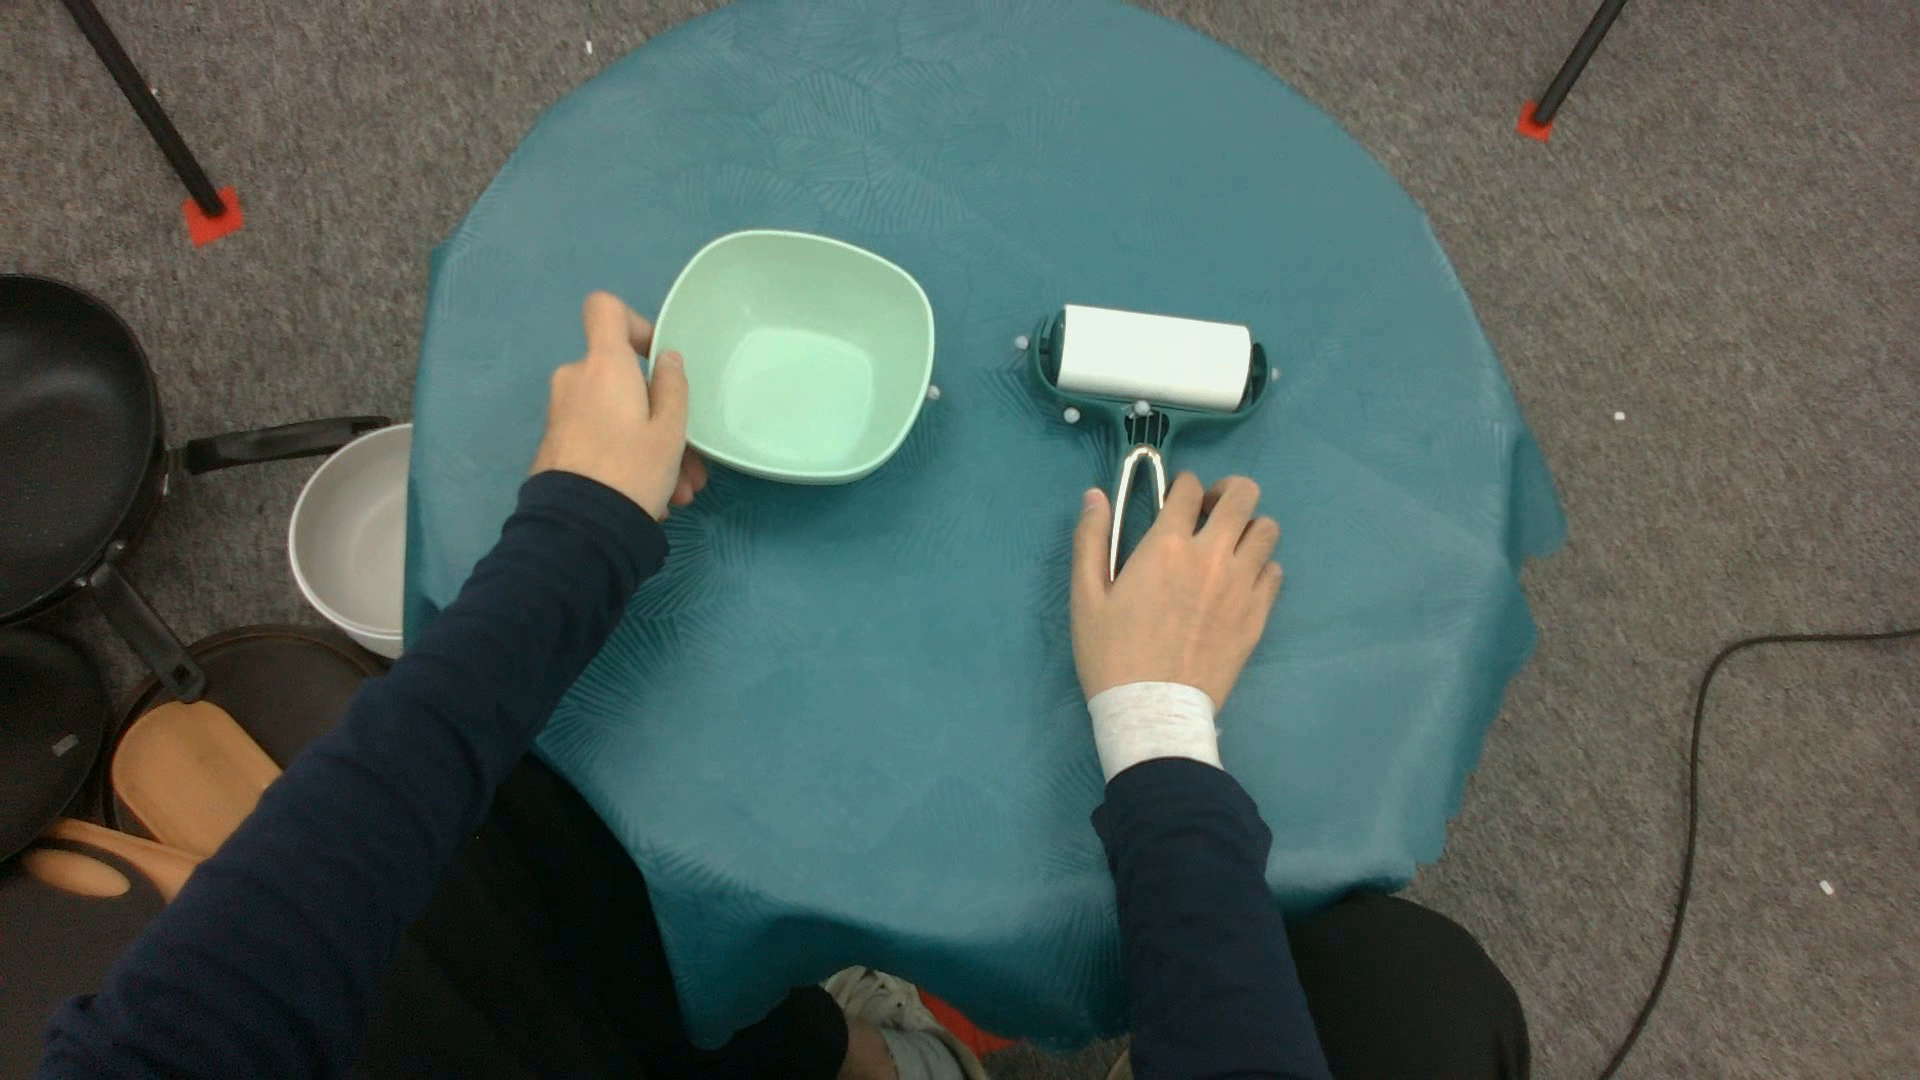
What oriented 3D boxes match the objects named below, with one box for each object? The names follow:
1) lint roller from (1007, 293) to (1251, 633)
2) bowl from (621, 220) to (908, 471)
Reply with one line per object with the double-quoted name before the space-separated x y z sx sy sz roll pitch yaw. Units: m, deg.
"lint roller" 0.086 -0.043 0.727 0.134 0.048 0.180 6 69 -4
"bowl" -0.100 -0.091 0.713 0.151 0.058 0.152 4 64 -7
